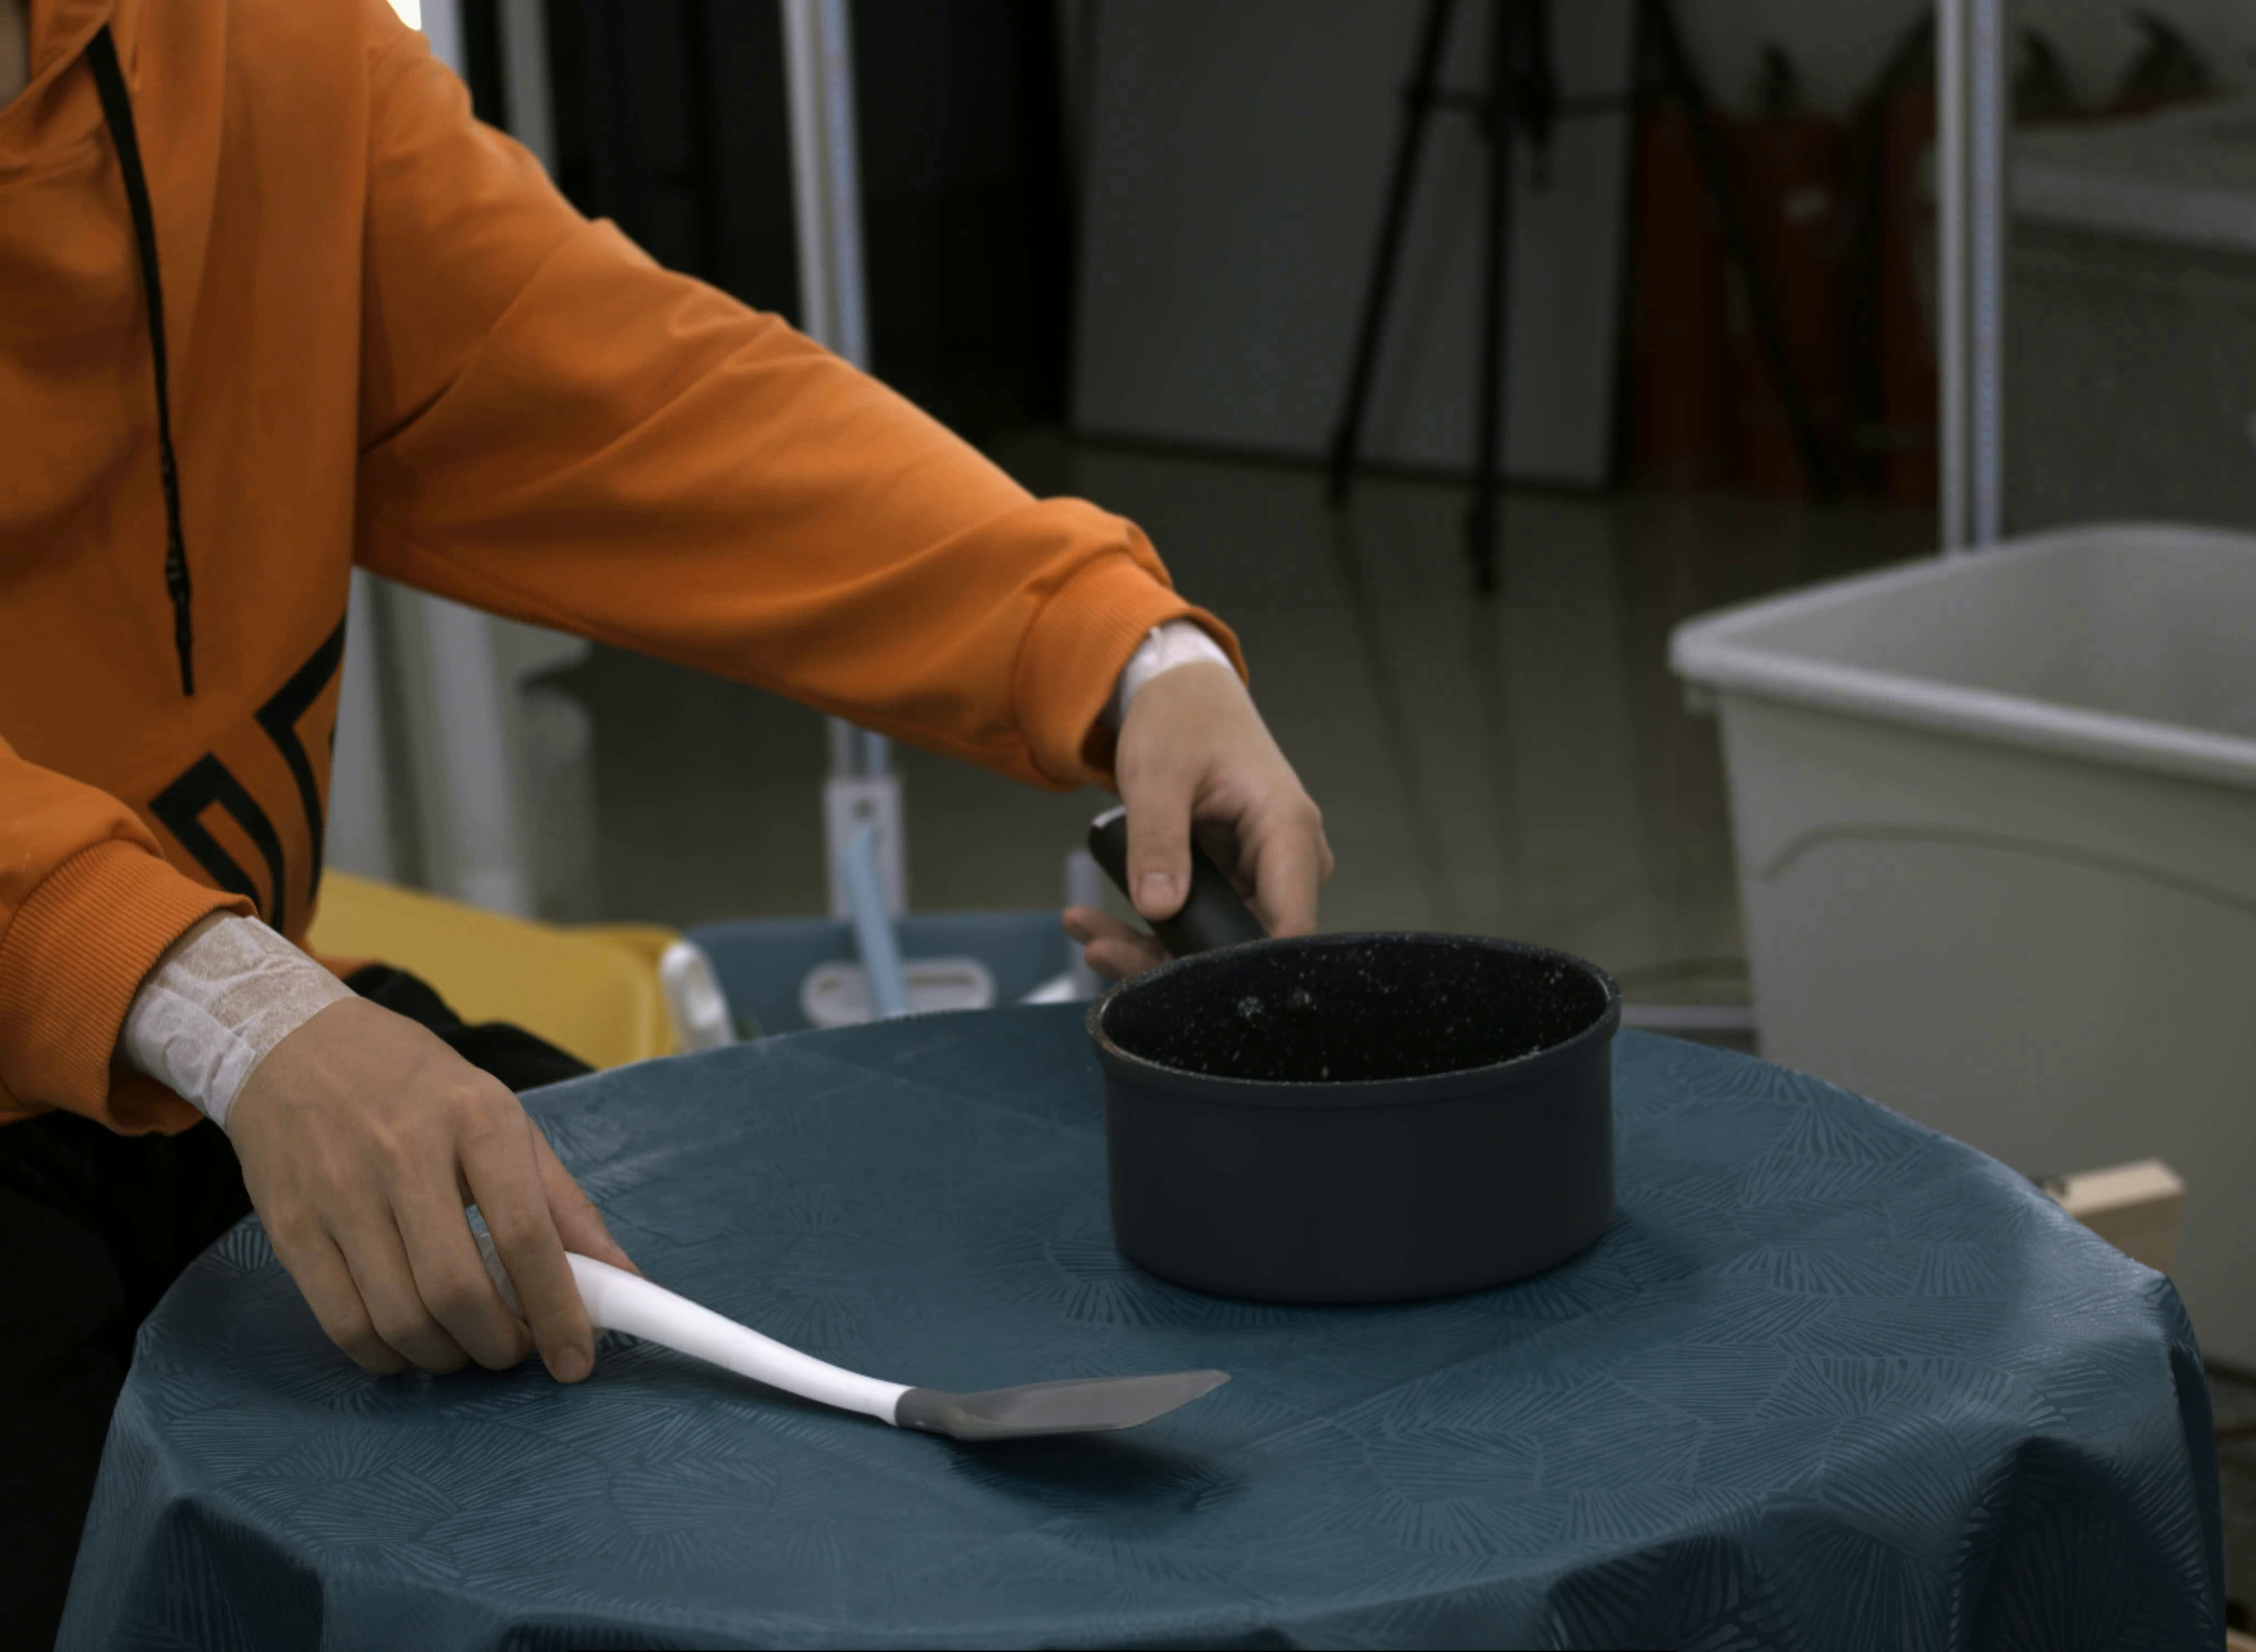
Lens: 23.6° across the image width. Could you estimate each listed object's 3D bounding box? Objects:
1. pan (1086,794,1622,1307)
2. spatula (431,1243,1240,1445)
[{"bbox_3d":[0.054,0.070,1.783,0.169,0.087,0.331,-7,15,-12],"label":"pan"},{"bbox_3d":[-0.092,0.156,1.590,0.289,0.032,0.057,6,13,38],"label":"spatula"}]
